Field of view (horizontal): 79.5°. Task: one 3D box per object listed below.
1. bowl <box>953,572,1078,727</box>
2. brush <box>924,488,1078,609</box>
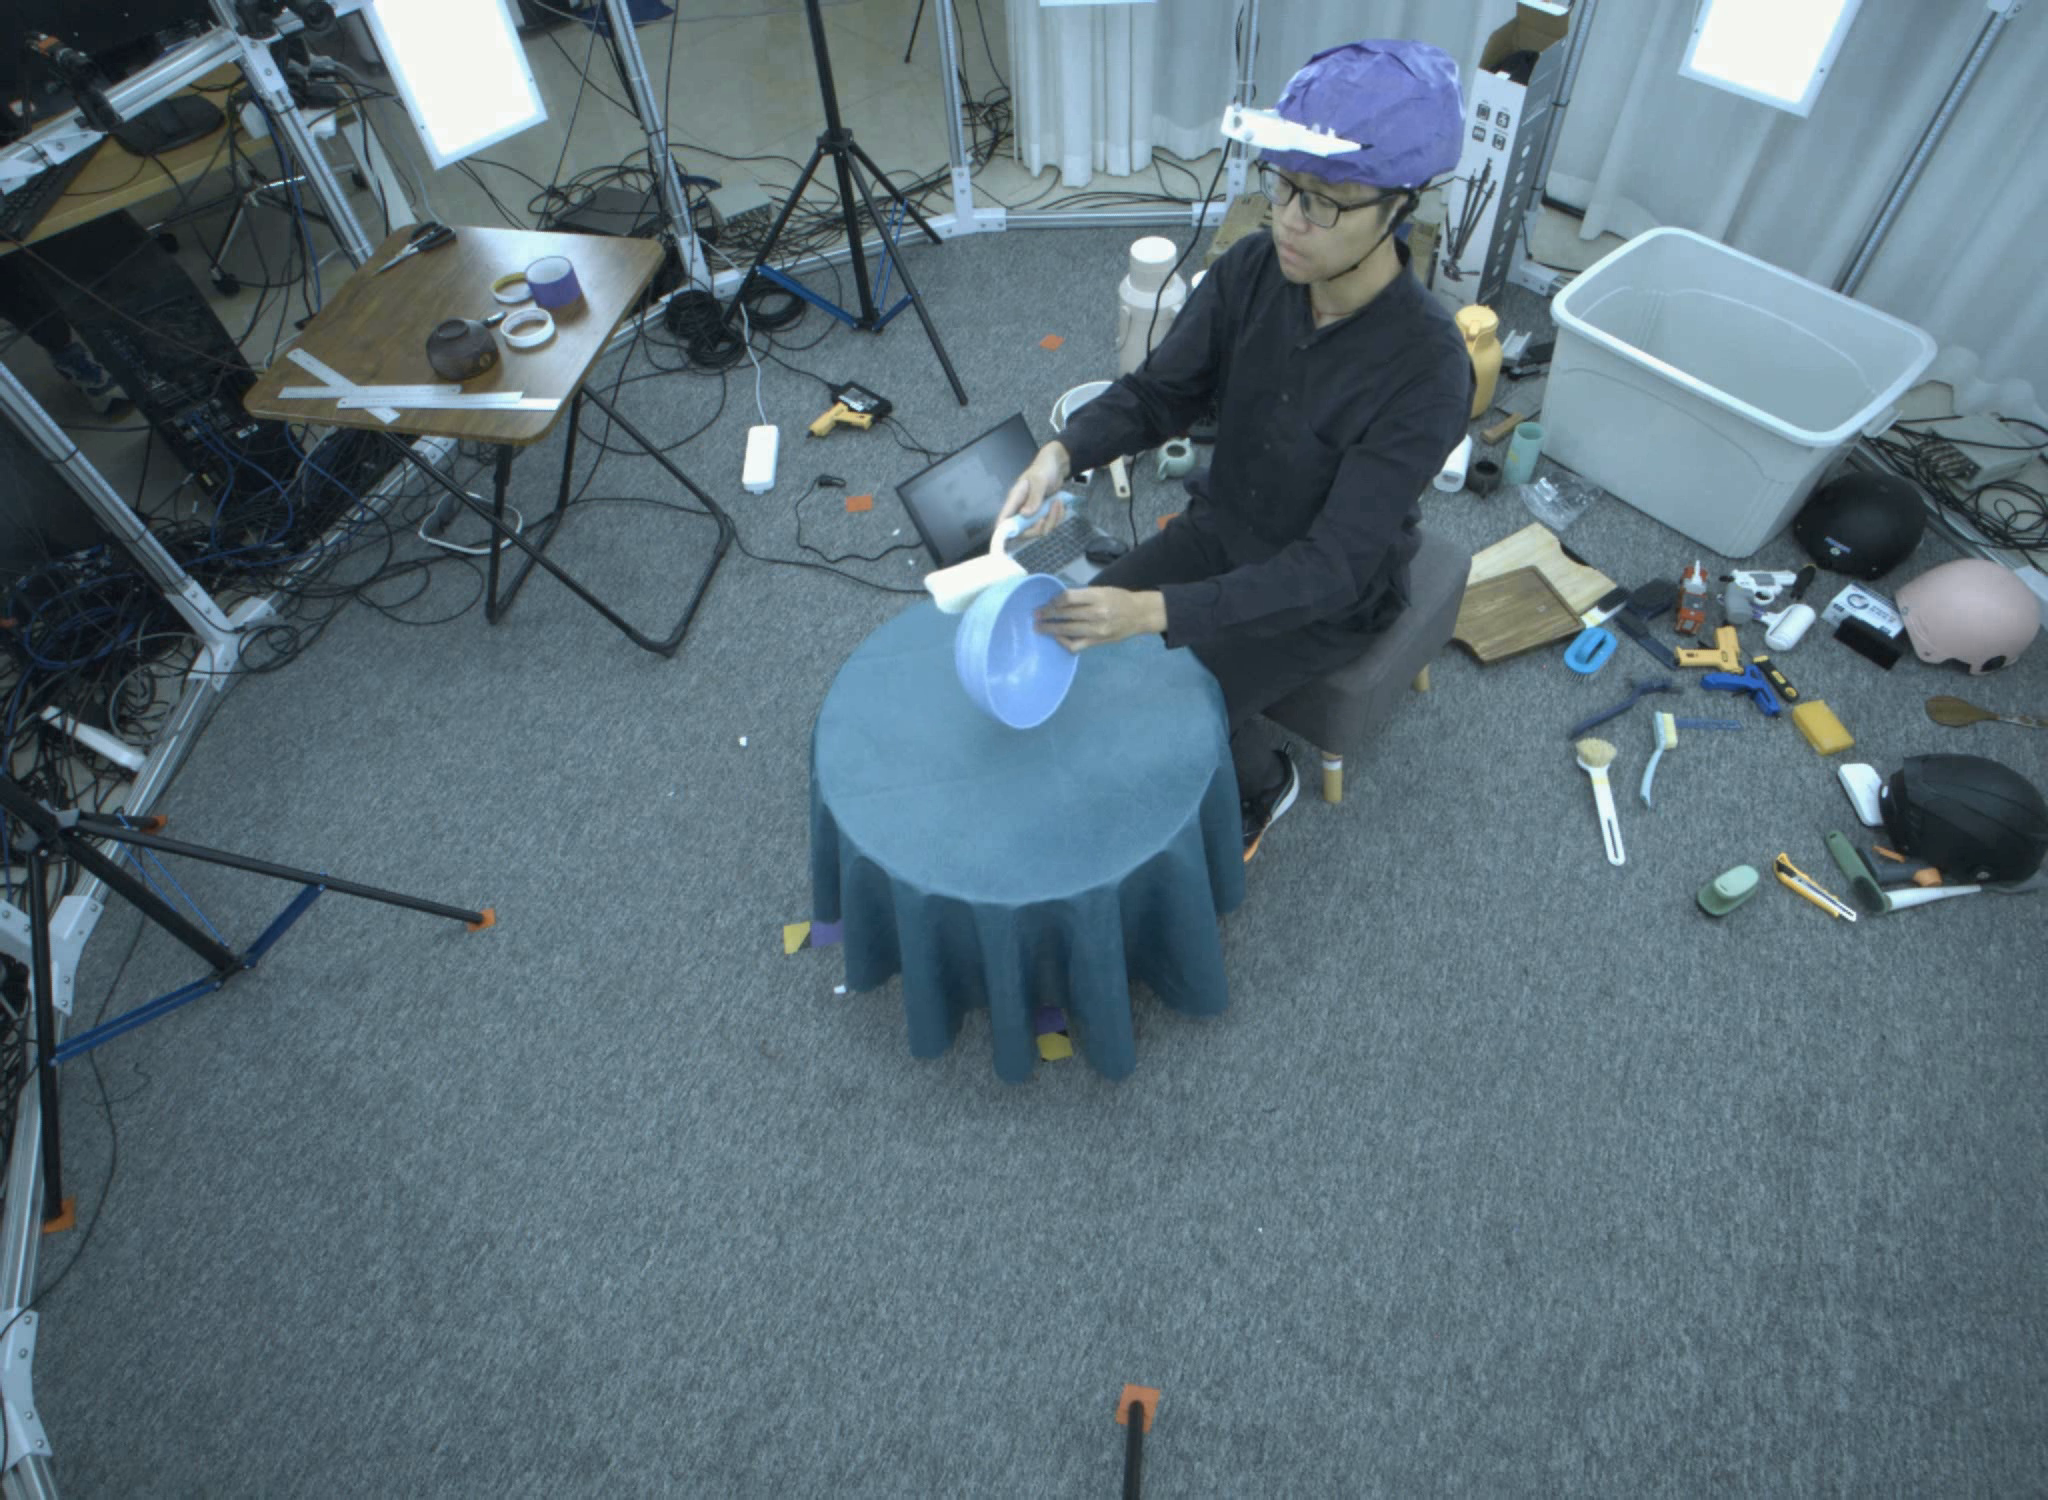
[{"bbox_3d":[-0.025,-0.135,1.568,0.093,0.200,0.197,15,55,35],"label":"bowl"},{"bbox_3d":[-0.003,-0.264,1.621,0.081,0.085,0.328,3,30,40],"label":"brush"}]
